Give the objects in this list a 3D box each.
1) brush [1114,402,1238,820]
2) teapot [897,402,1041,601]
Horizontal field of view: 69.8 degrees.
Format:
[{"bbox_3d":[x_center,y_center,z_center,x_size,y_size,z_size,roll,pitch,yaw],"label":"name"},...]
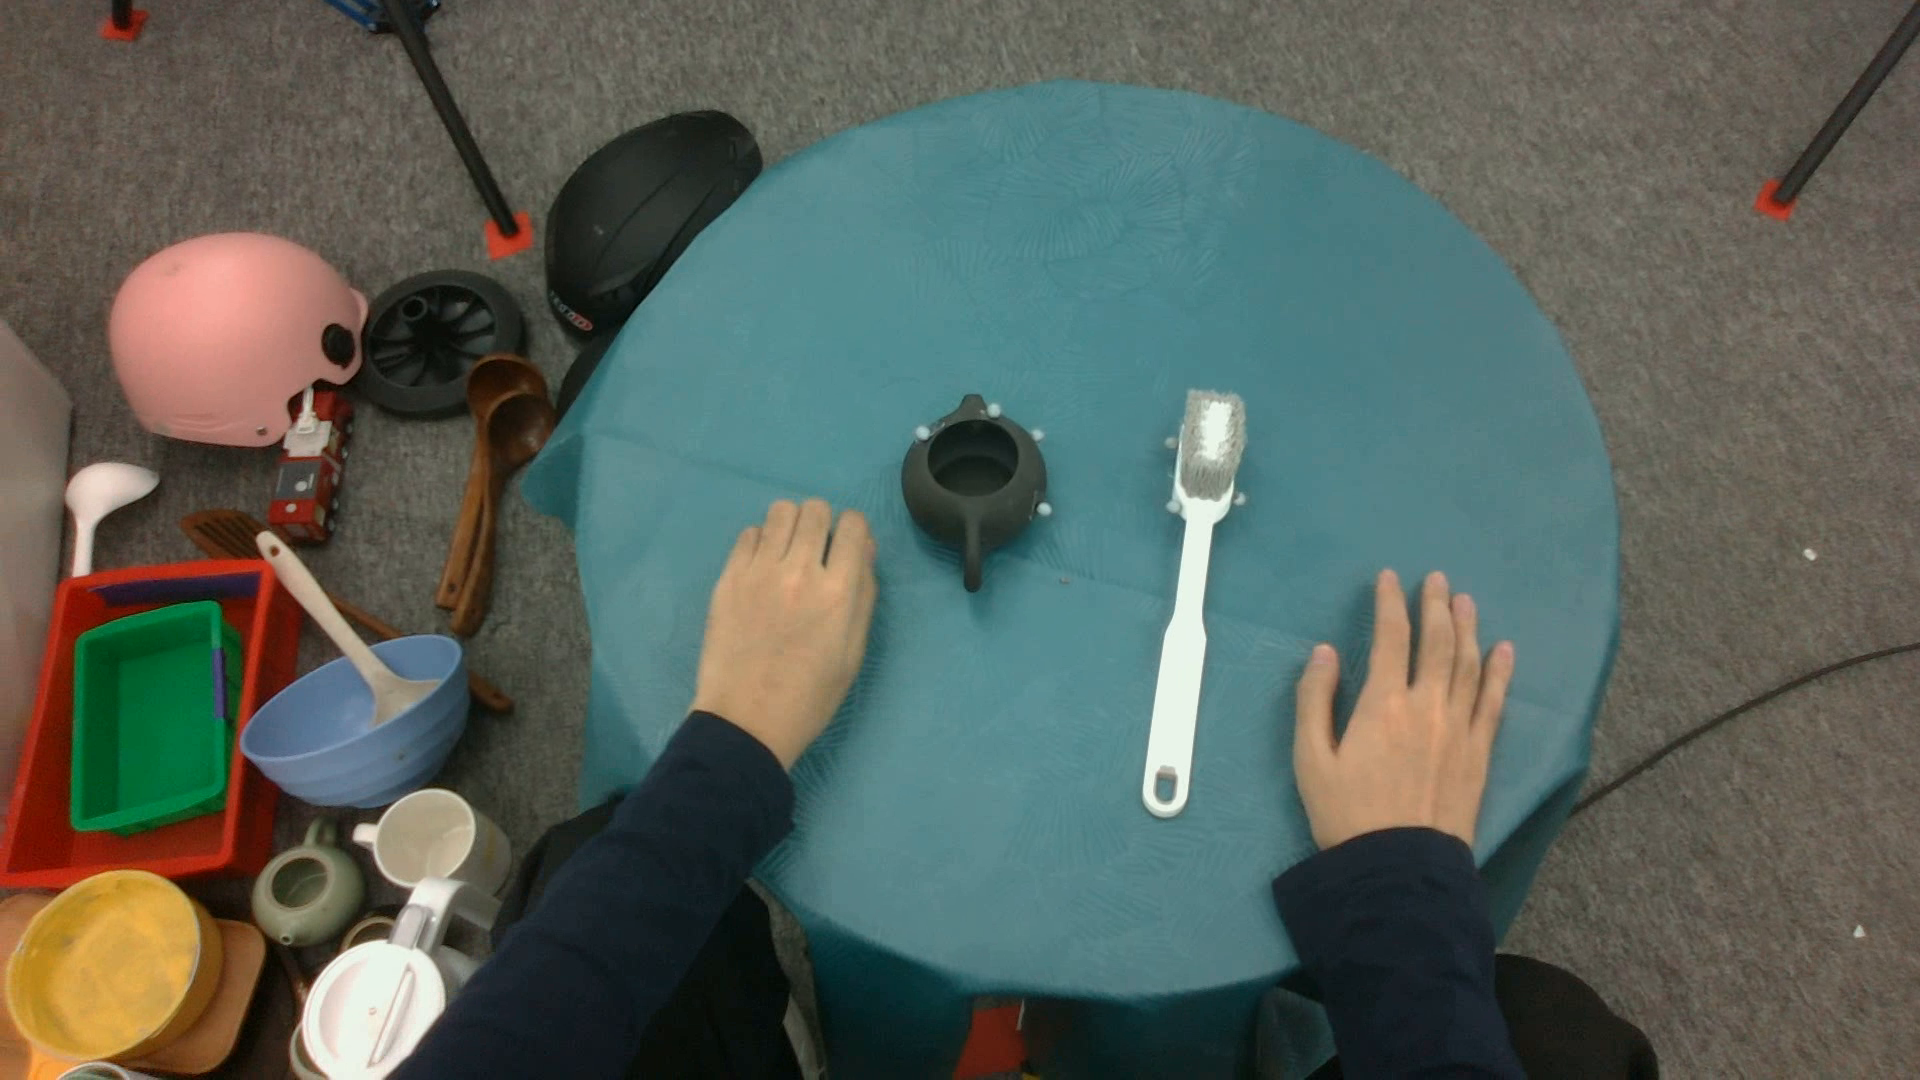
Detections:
[{"bbox_3d":[0.119,0.031,0.754,0.034,0.050,0.244,13,64,4],"label":"brush"},{"bbox_3d":[0.005,-0.020,0.781,0.083,0.053,0.114,1,62,1],"label":"teapot"}]
